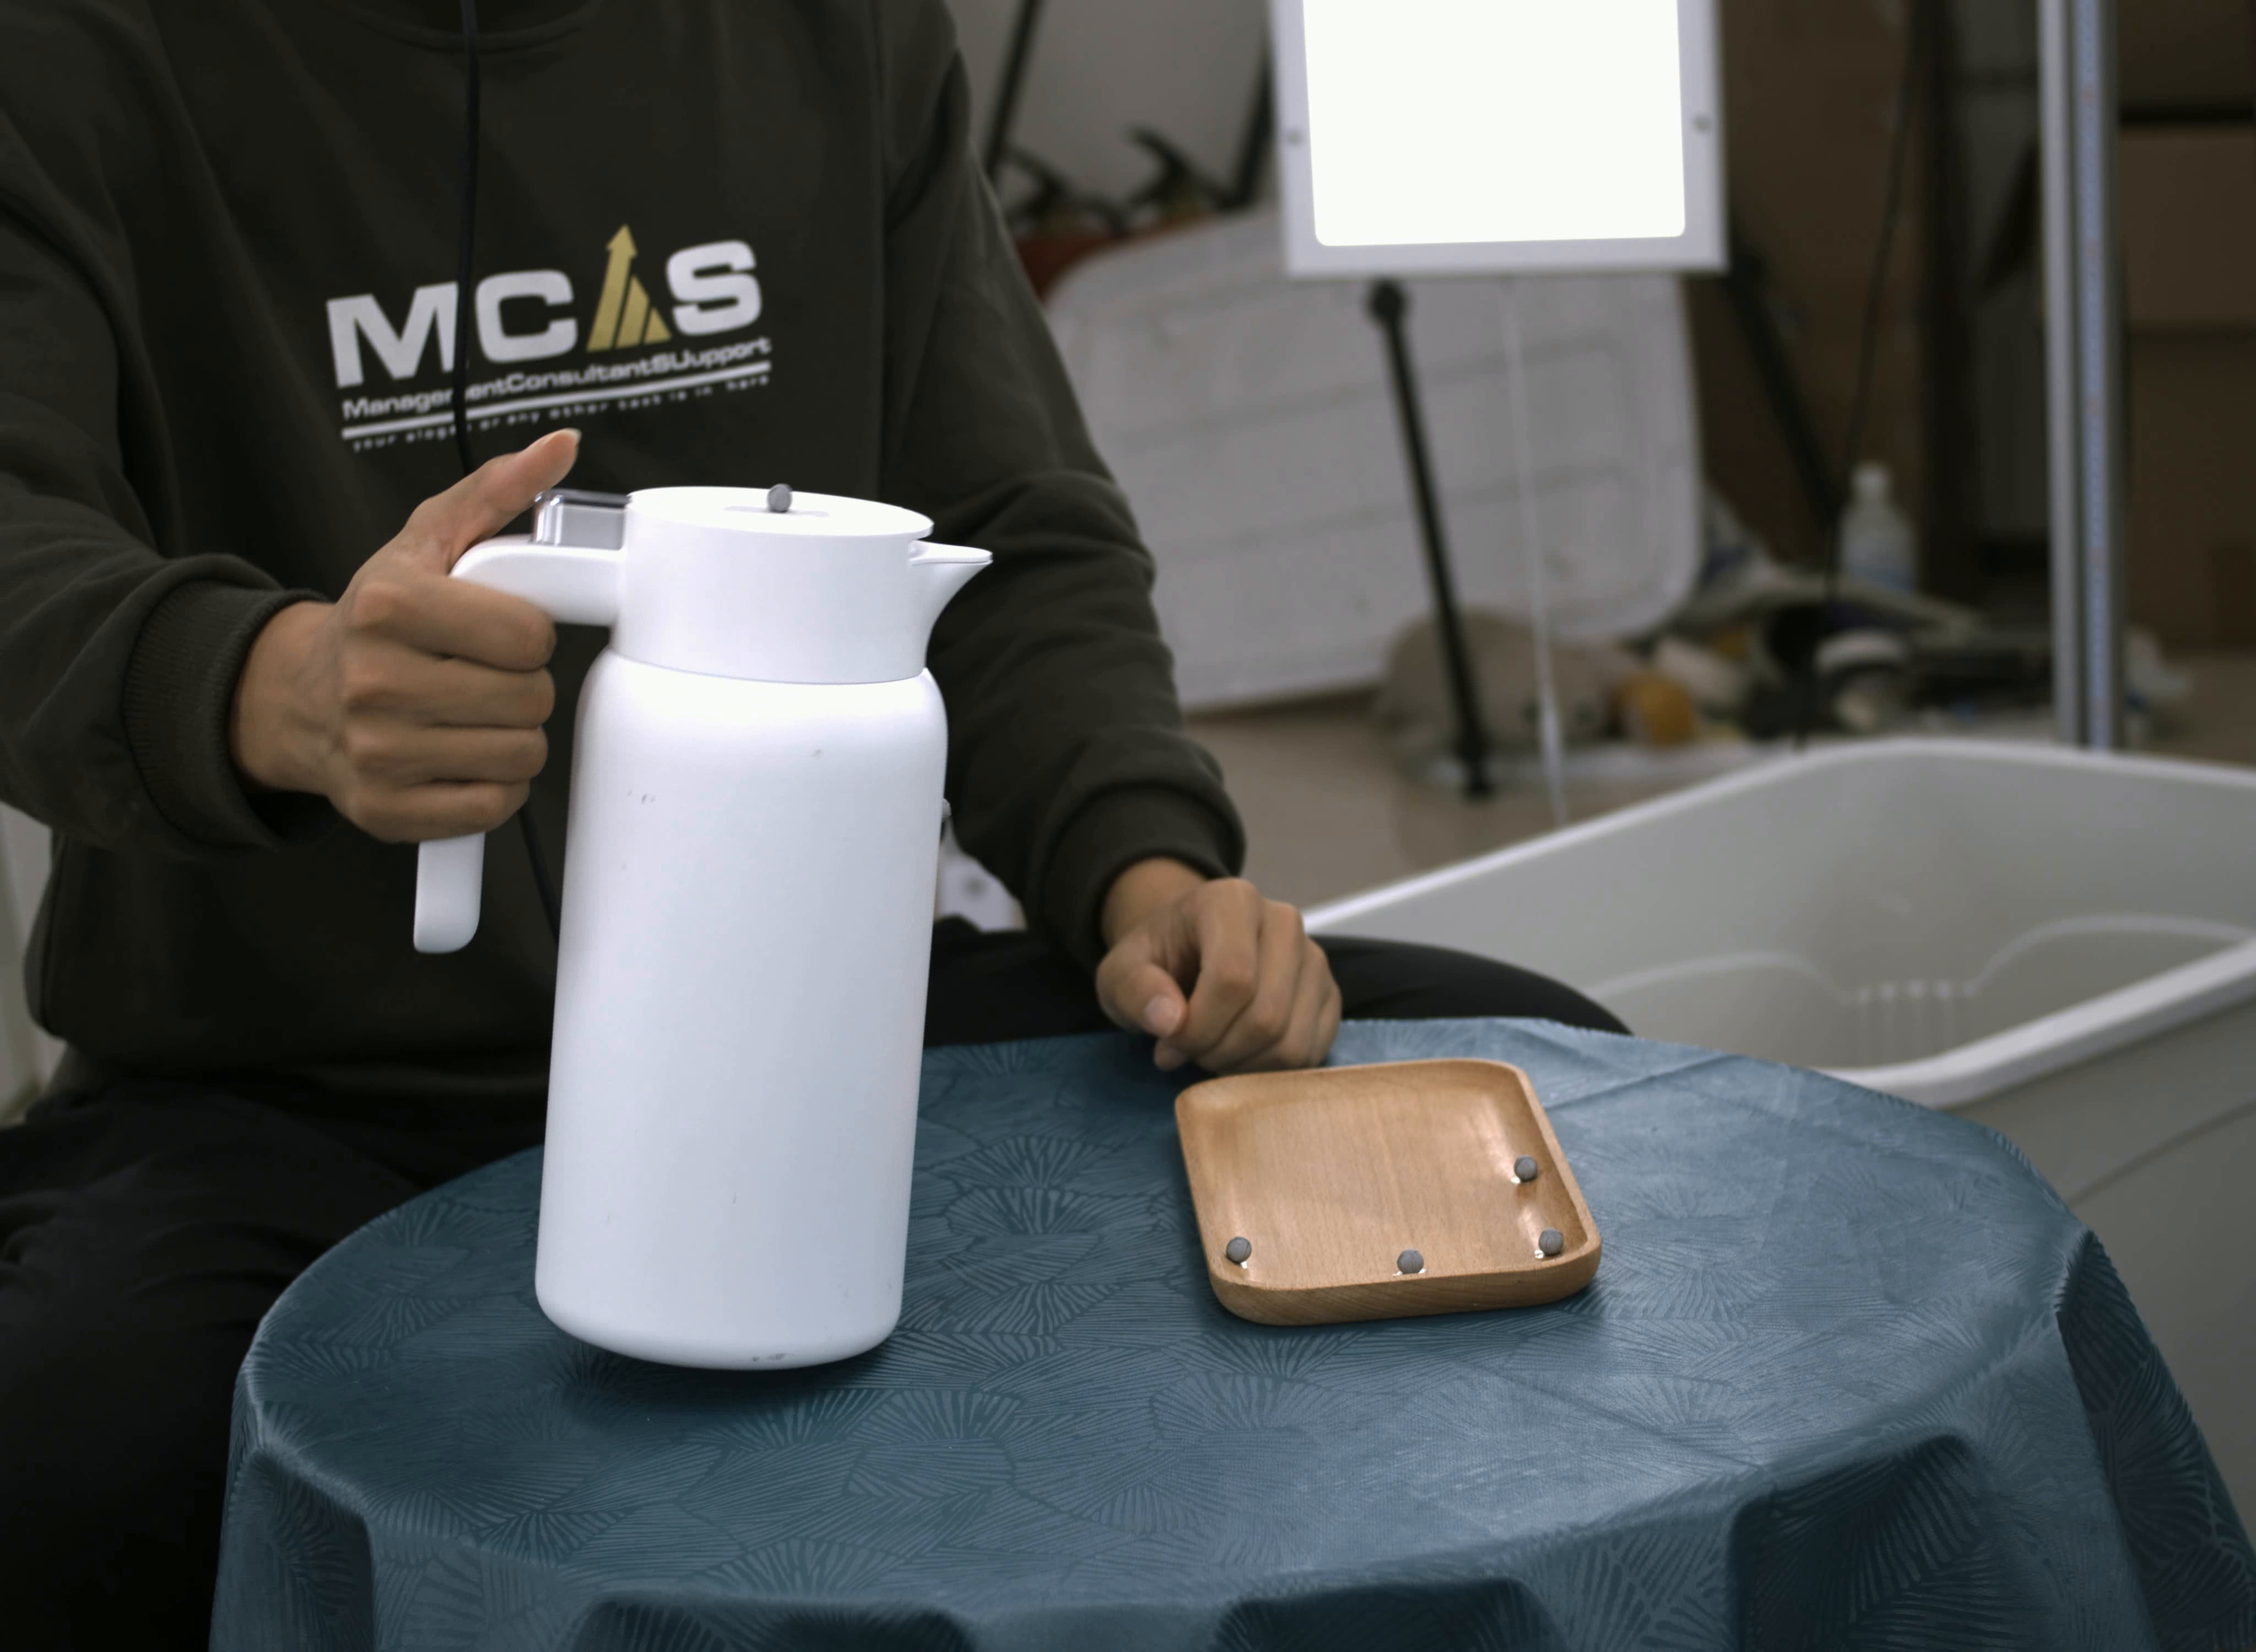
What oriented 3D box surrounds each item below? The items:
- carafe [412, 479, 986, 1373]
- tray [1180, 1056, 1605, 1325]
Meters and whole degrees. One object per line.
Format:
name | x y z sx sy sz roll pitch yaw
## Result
carafe | -0.138 0.030 1.735 0.172 0.270 0.124 3 13 -4
tray | 0.086 0.121 1.859 0.130 0.023 0.250 -3 12 0
